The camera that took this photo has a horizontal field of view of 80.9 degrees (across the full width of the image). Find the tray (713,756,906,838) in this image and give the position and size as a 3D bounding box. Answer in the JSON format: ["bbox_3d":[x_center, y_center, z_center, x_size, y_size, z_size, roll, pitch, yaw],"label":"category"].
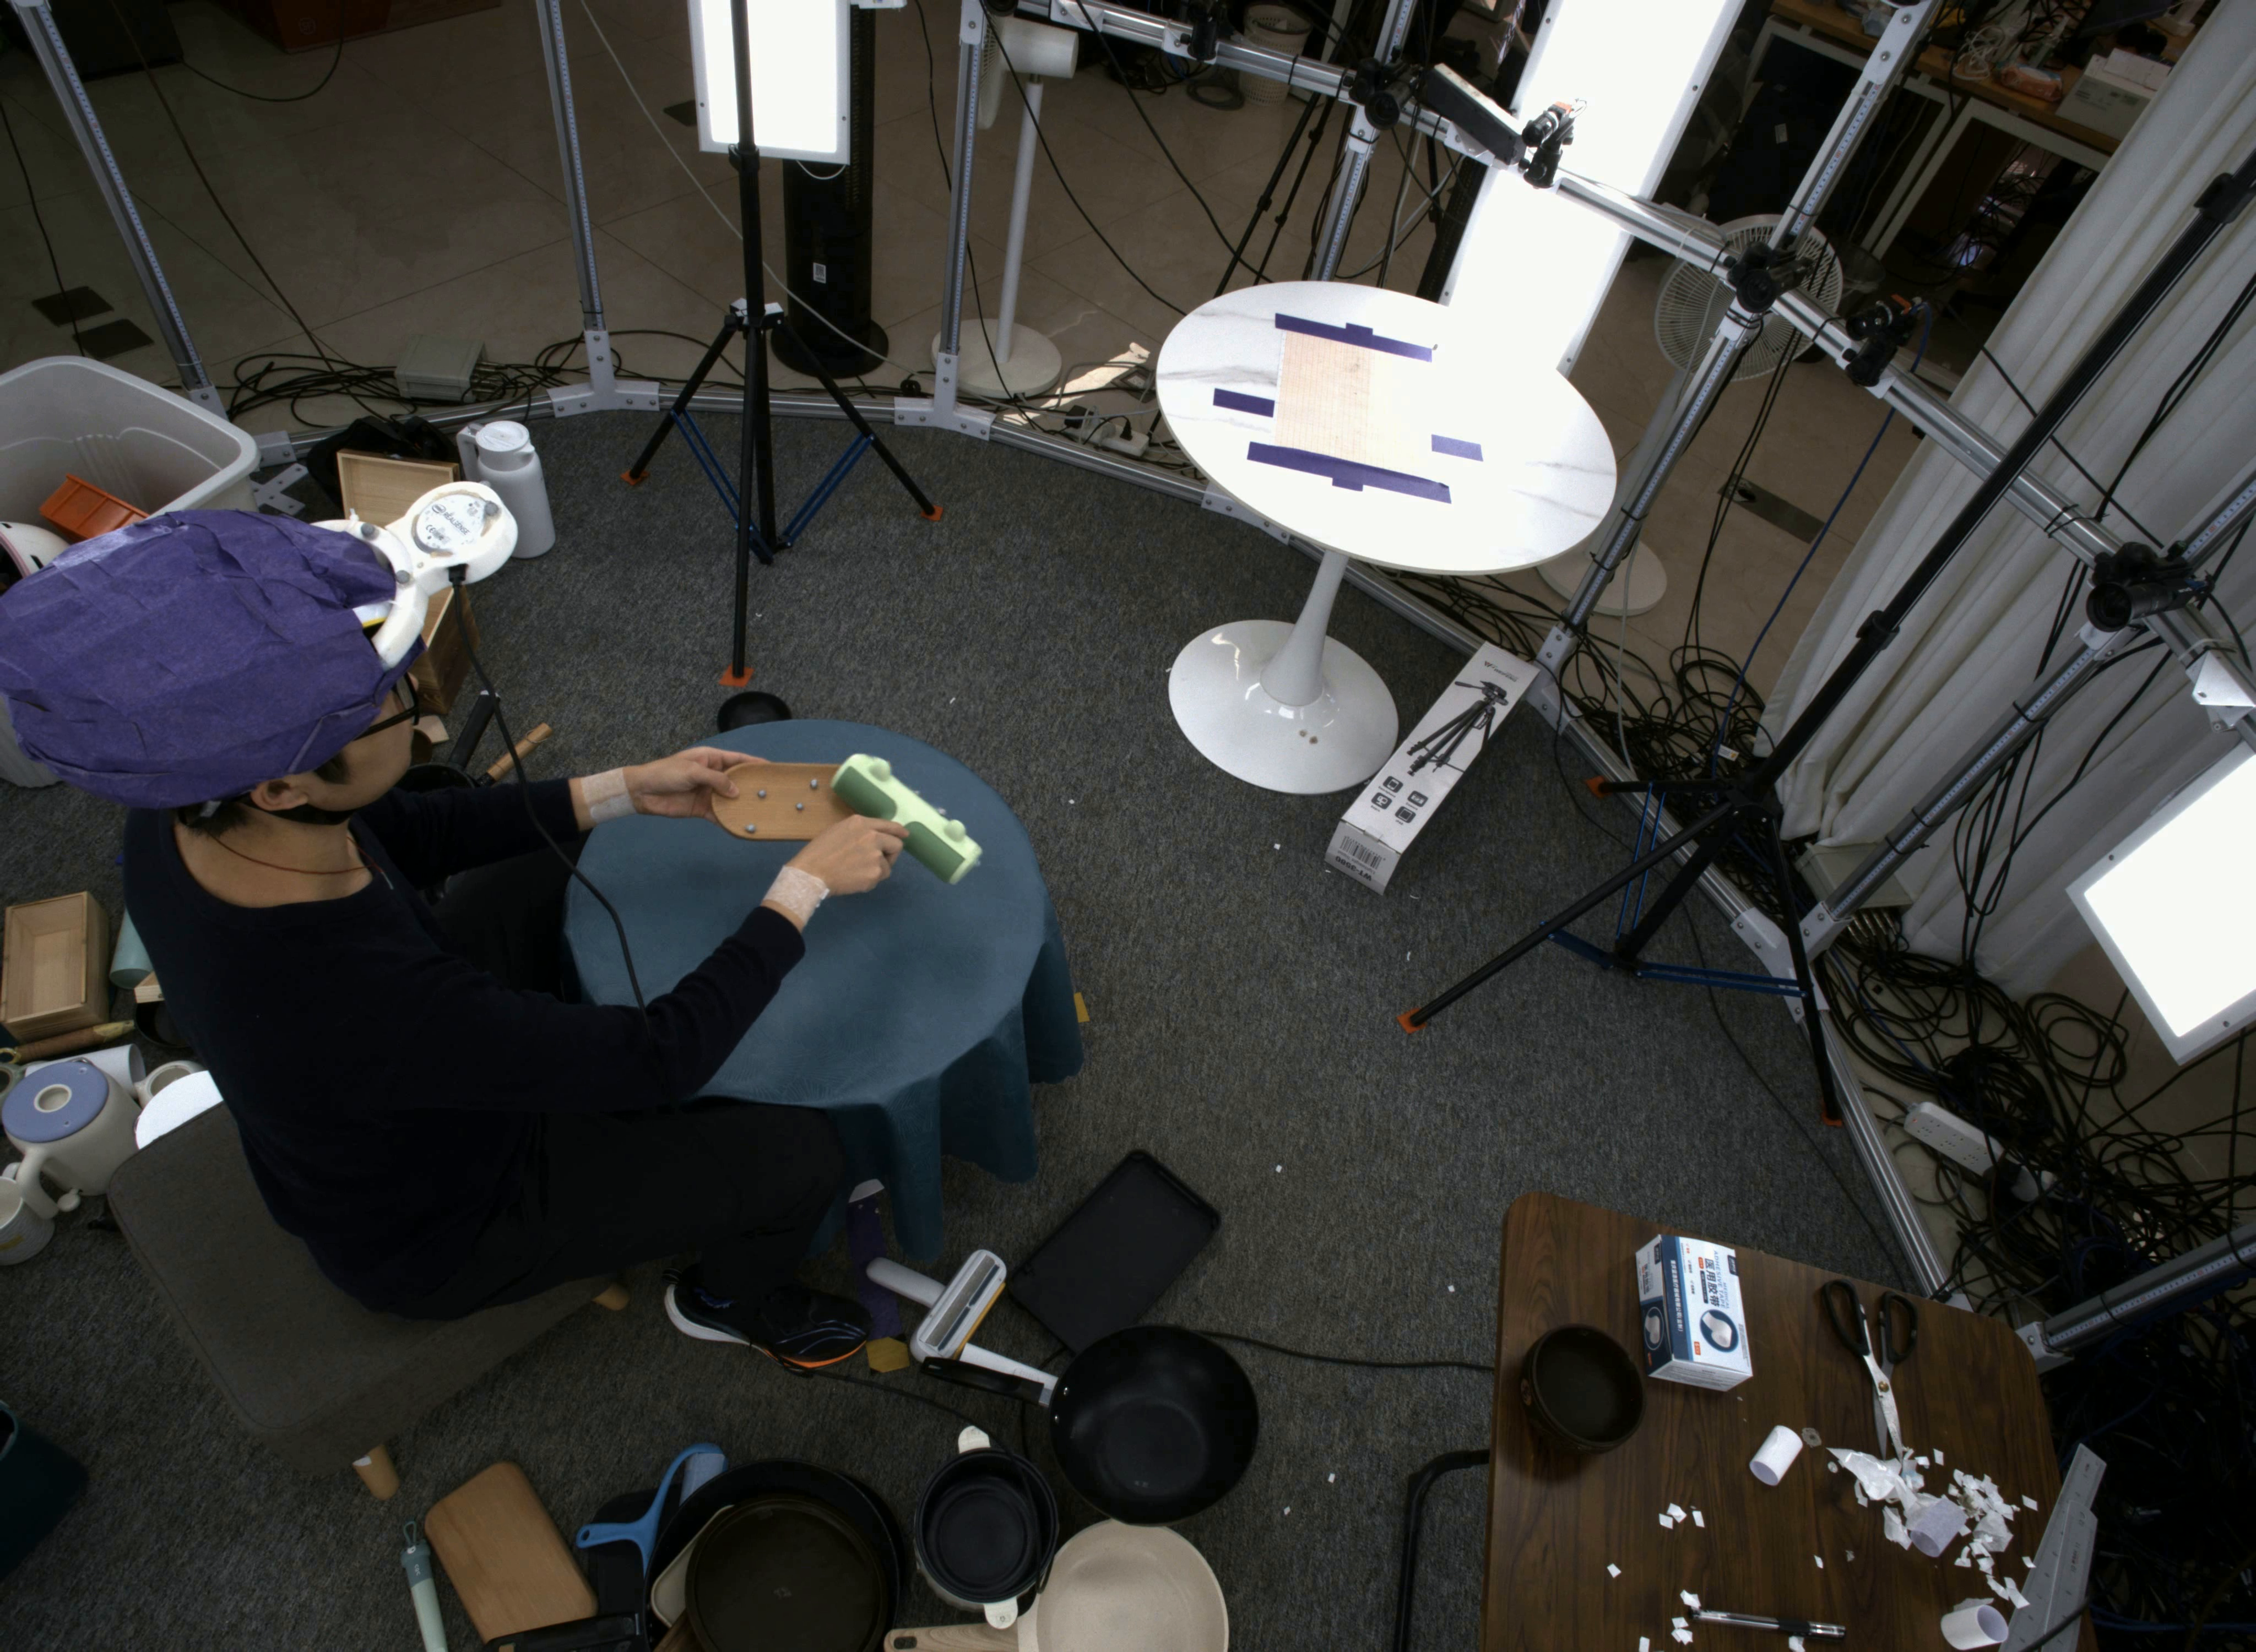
[{"bbox_3d":[-0.381,-0.035,1.560,0.234,0.020,0.101,0,72,-26],"label":"tray"}]

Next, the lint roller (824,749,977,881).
[{"bbox_3d":[-0.279,-0.007,1.510,0.199,0.082,0.182,38,18,-2],"label":"lint roller"}]
